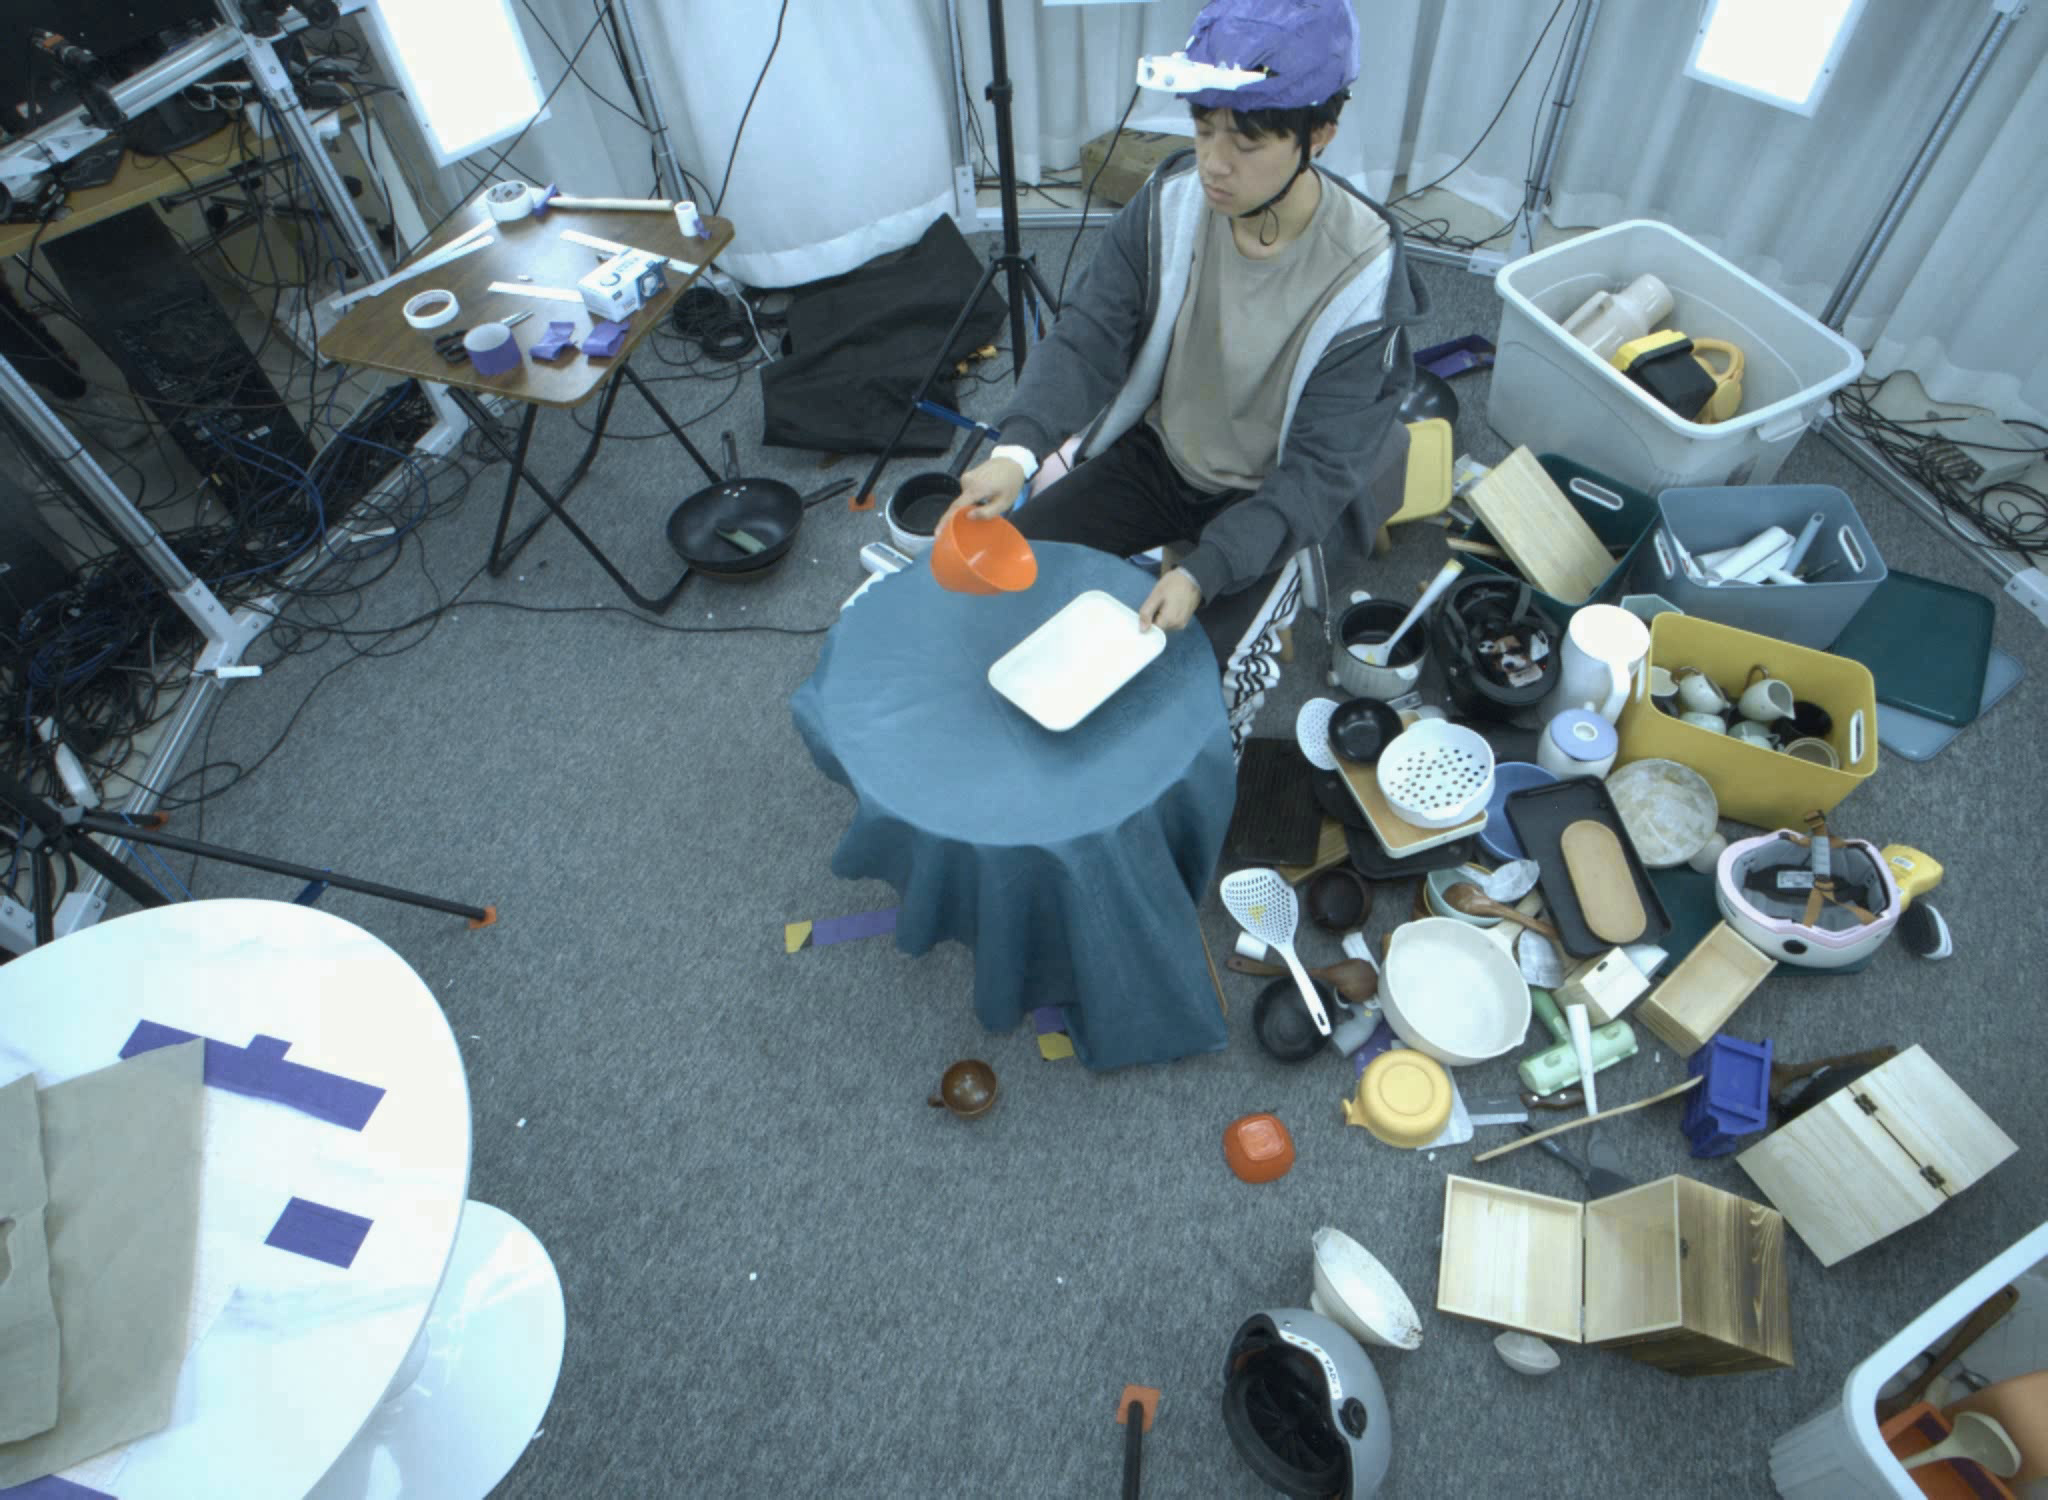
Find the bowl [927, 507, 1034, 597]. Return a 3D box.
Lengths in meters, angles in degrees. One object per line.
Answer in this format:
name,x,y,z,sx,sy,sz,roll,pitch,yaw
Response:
bowl,-0.074,-0.269,1.757,0.103,0.151,0.147,-27,44,38

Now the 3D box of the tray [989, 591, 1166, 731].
tray,0.079,-0.132,1.813,0.241,0.018,0.168,-40,60,-20
